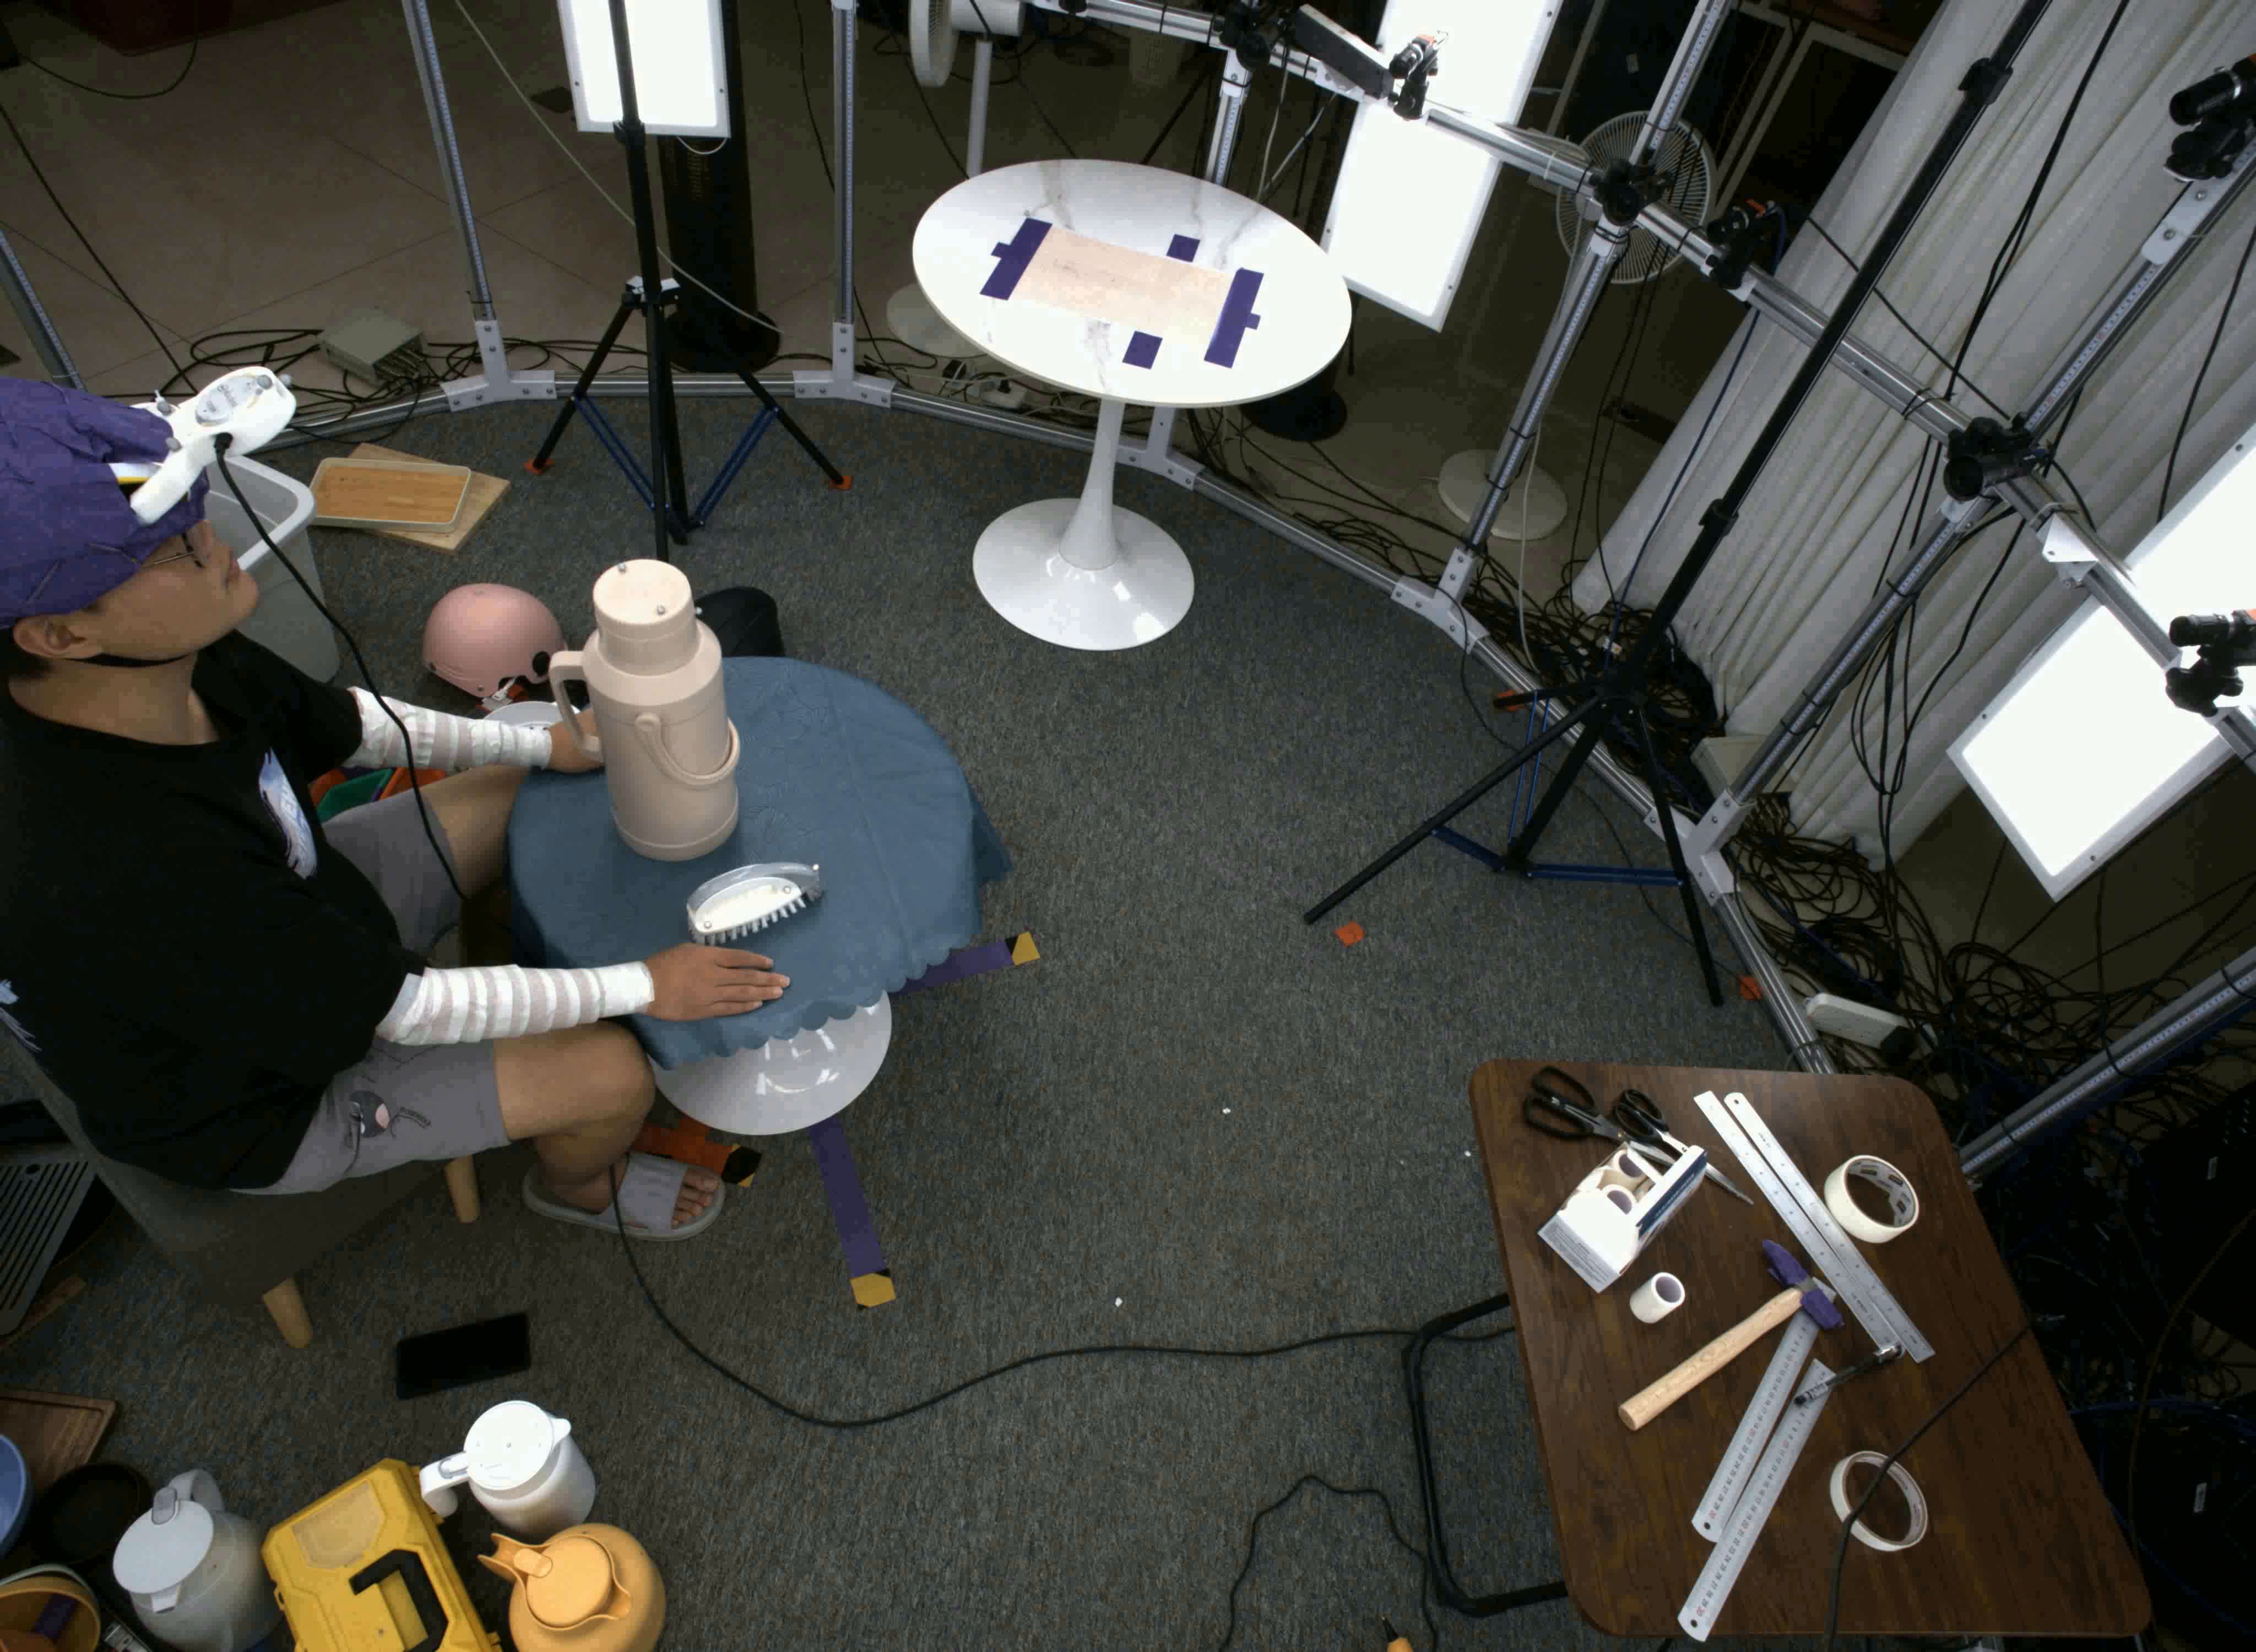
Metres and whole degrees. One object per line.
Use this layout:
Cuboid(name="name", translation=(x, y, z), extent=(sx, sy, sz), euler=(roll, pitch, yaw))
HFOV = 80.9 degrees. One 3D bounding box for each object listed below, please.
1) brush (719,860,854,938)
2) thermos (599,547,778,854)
Cuboid(name="brush", translation=(-0.424, 0.073, 1.621), extent=(0.176, 0.095, 0.060), euler=(-17, 63, -26))
Cuboid(name="thermos", translation=(-0.535, -0.150, 1.563), extent=(0.207, 0.415, 0.172), euler=(0, 54, -11))
